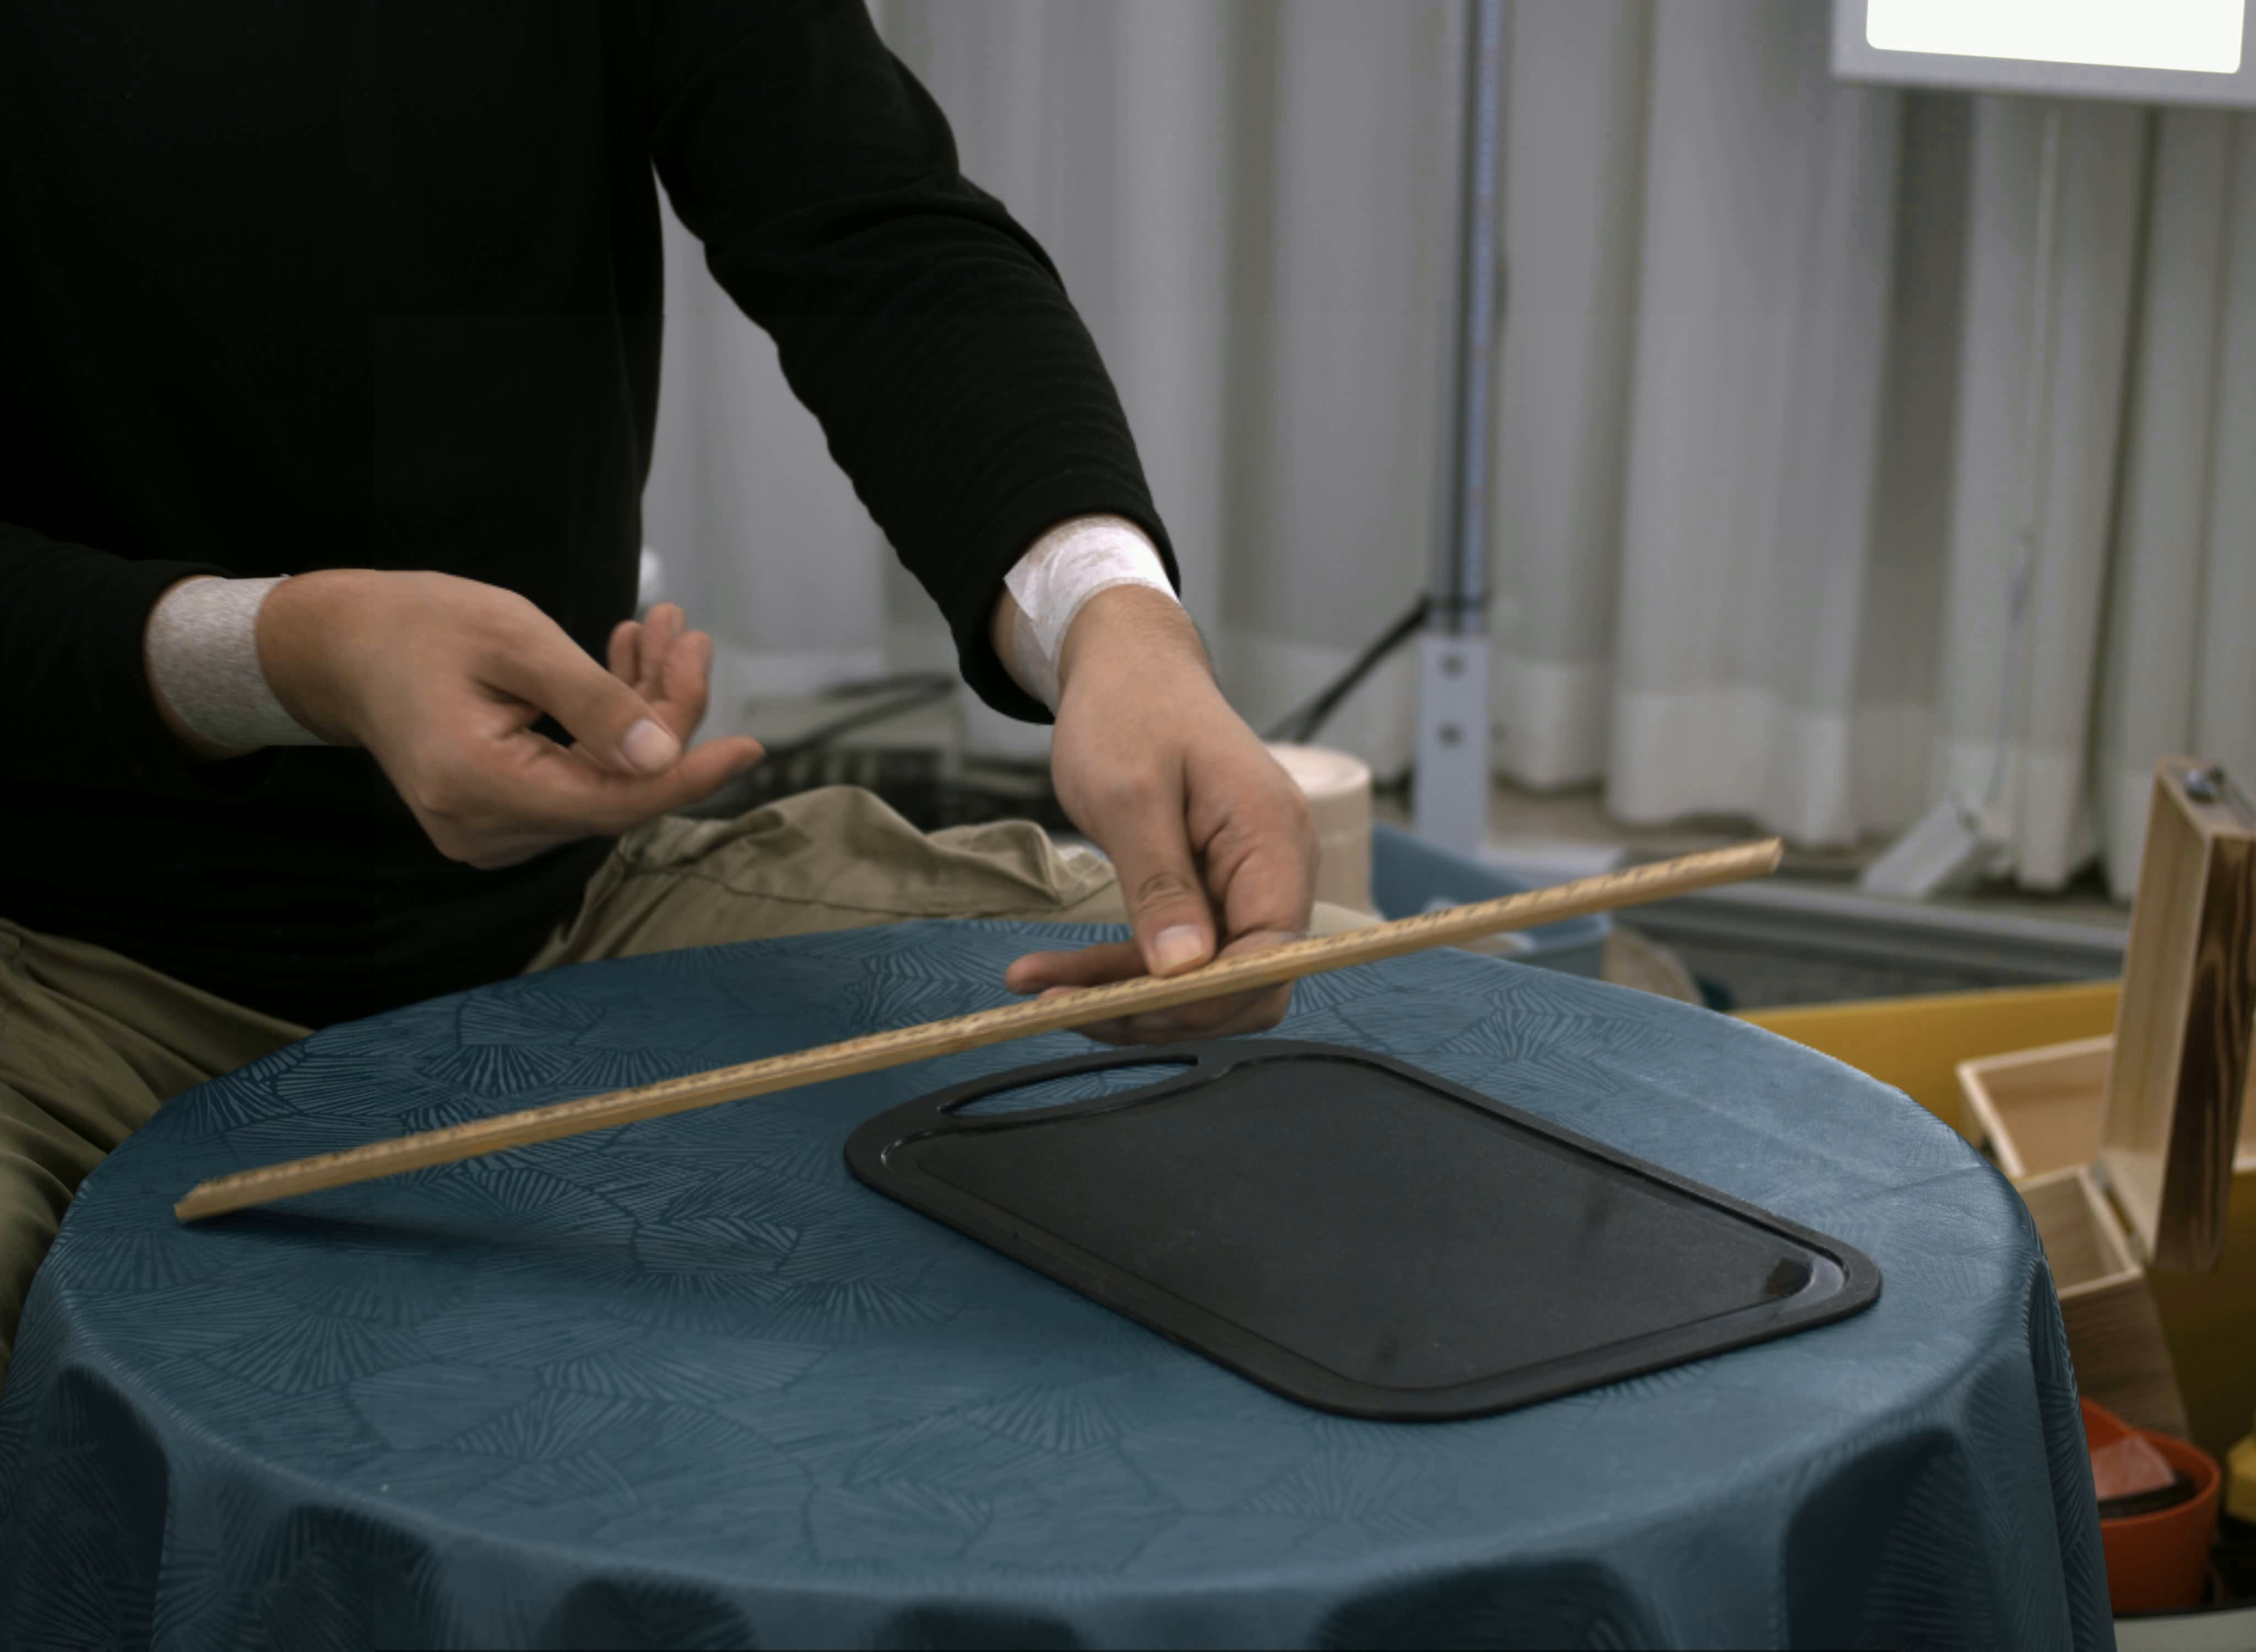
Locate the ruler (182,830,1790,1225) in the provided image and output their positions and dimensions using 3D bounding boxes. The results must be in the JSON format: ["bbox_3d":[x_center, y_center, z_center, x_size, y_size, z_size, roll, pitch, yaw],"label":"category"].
[{"bbox_3d":[-0.050,0.060,1.521,0.497,0.006,0.027,-13,10,17],"label":"ruler"}]

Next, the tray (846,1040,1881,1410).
[{"bbox_3d":[0.061,0.114,1.604,0.212,0.010,0.321,-10,18,-34],"label":"tray"}]
